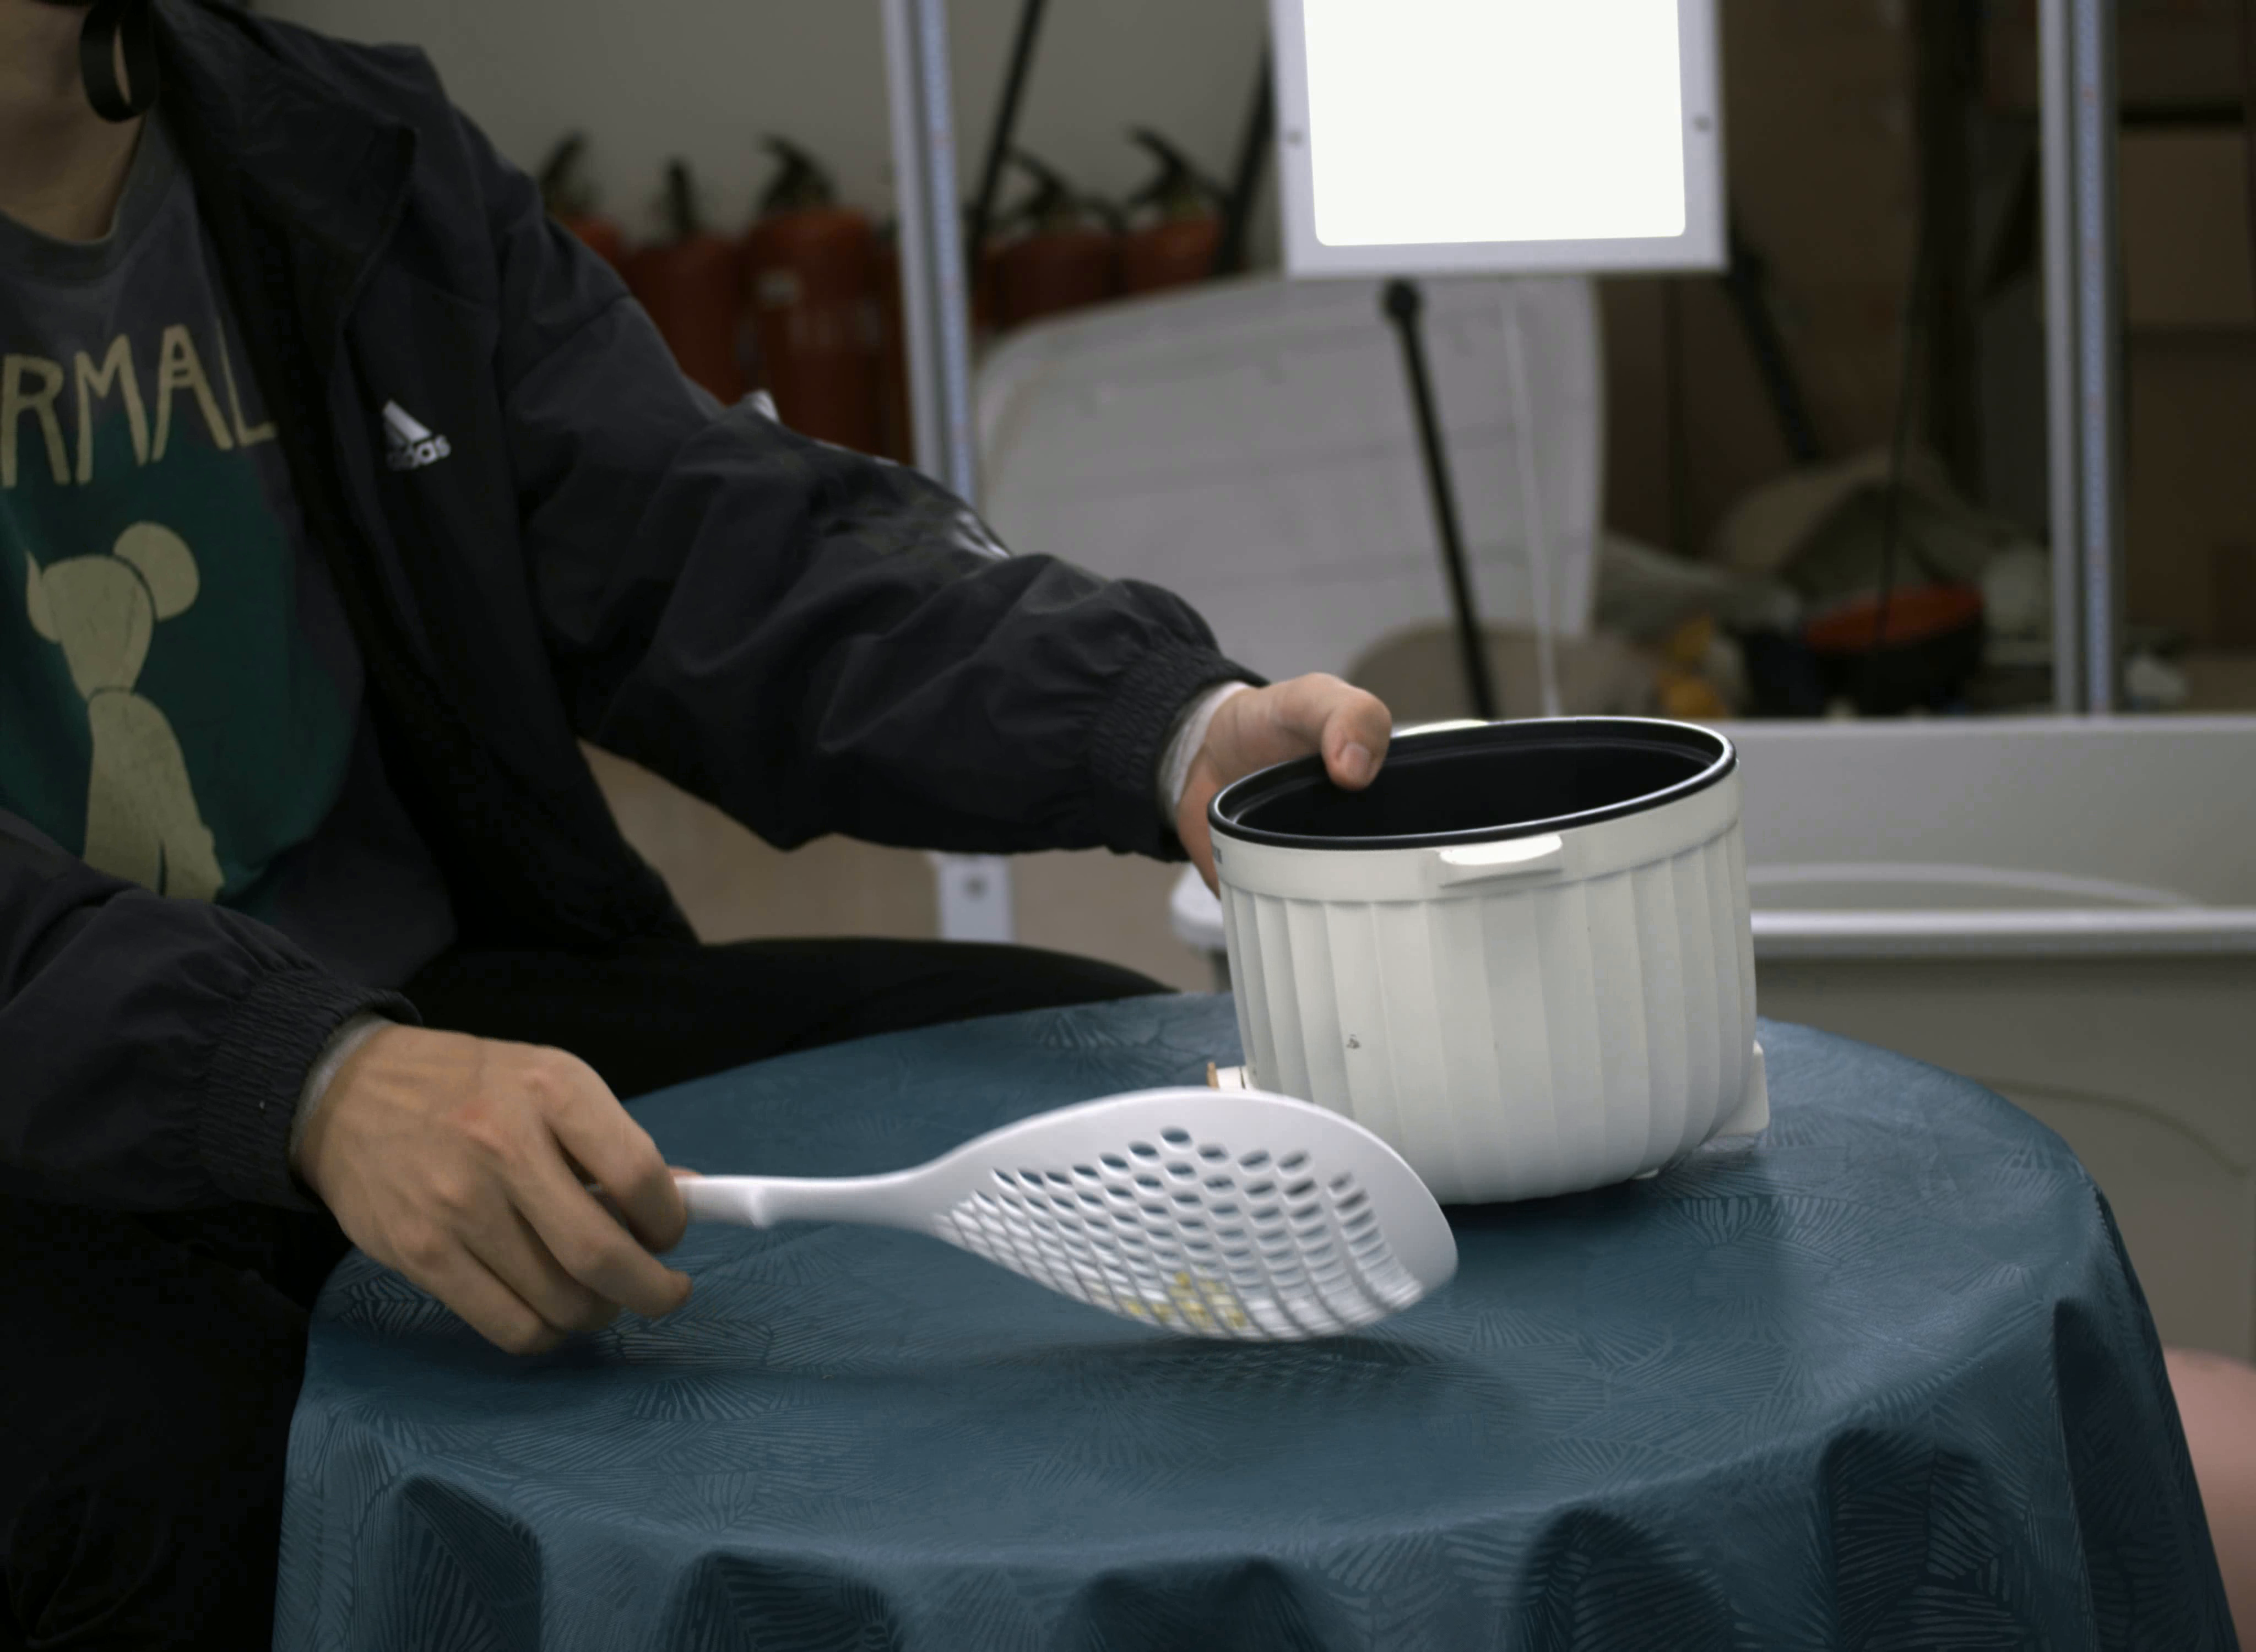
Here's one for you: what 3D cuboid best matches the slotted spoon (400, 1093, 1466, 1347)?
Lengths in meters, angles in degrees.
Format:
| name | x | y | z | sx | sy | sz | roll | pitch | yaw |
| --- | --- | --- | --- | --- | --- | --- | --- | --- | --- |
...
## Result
| name | x | y | z | sx | sy | sz | roll | pitch | yaw |
| --- | --- | --- | --- | --- | --- | --- | --- | --- | --- |
| slotted spoon | -0.066 | 0.129 | 1.727 | 0.353 | 0.135 | 0.050 | 2 | 59 | 25 |

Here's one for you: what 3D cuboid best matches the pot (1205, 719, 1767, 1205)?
| name | x | y | z | sx | sy | sz | roll | pitch | yaw |
| --- | --- | --- | --- | --- | --- | --- | --- | --- | --- |
| pot | 0.119 | 0.048 | 1.869 | 0.190 | 0.143 | 0.240 | -4 | 10 | -1 |
